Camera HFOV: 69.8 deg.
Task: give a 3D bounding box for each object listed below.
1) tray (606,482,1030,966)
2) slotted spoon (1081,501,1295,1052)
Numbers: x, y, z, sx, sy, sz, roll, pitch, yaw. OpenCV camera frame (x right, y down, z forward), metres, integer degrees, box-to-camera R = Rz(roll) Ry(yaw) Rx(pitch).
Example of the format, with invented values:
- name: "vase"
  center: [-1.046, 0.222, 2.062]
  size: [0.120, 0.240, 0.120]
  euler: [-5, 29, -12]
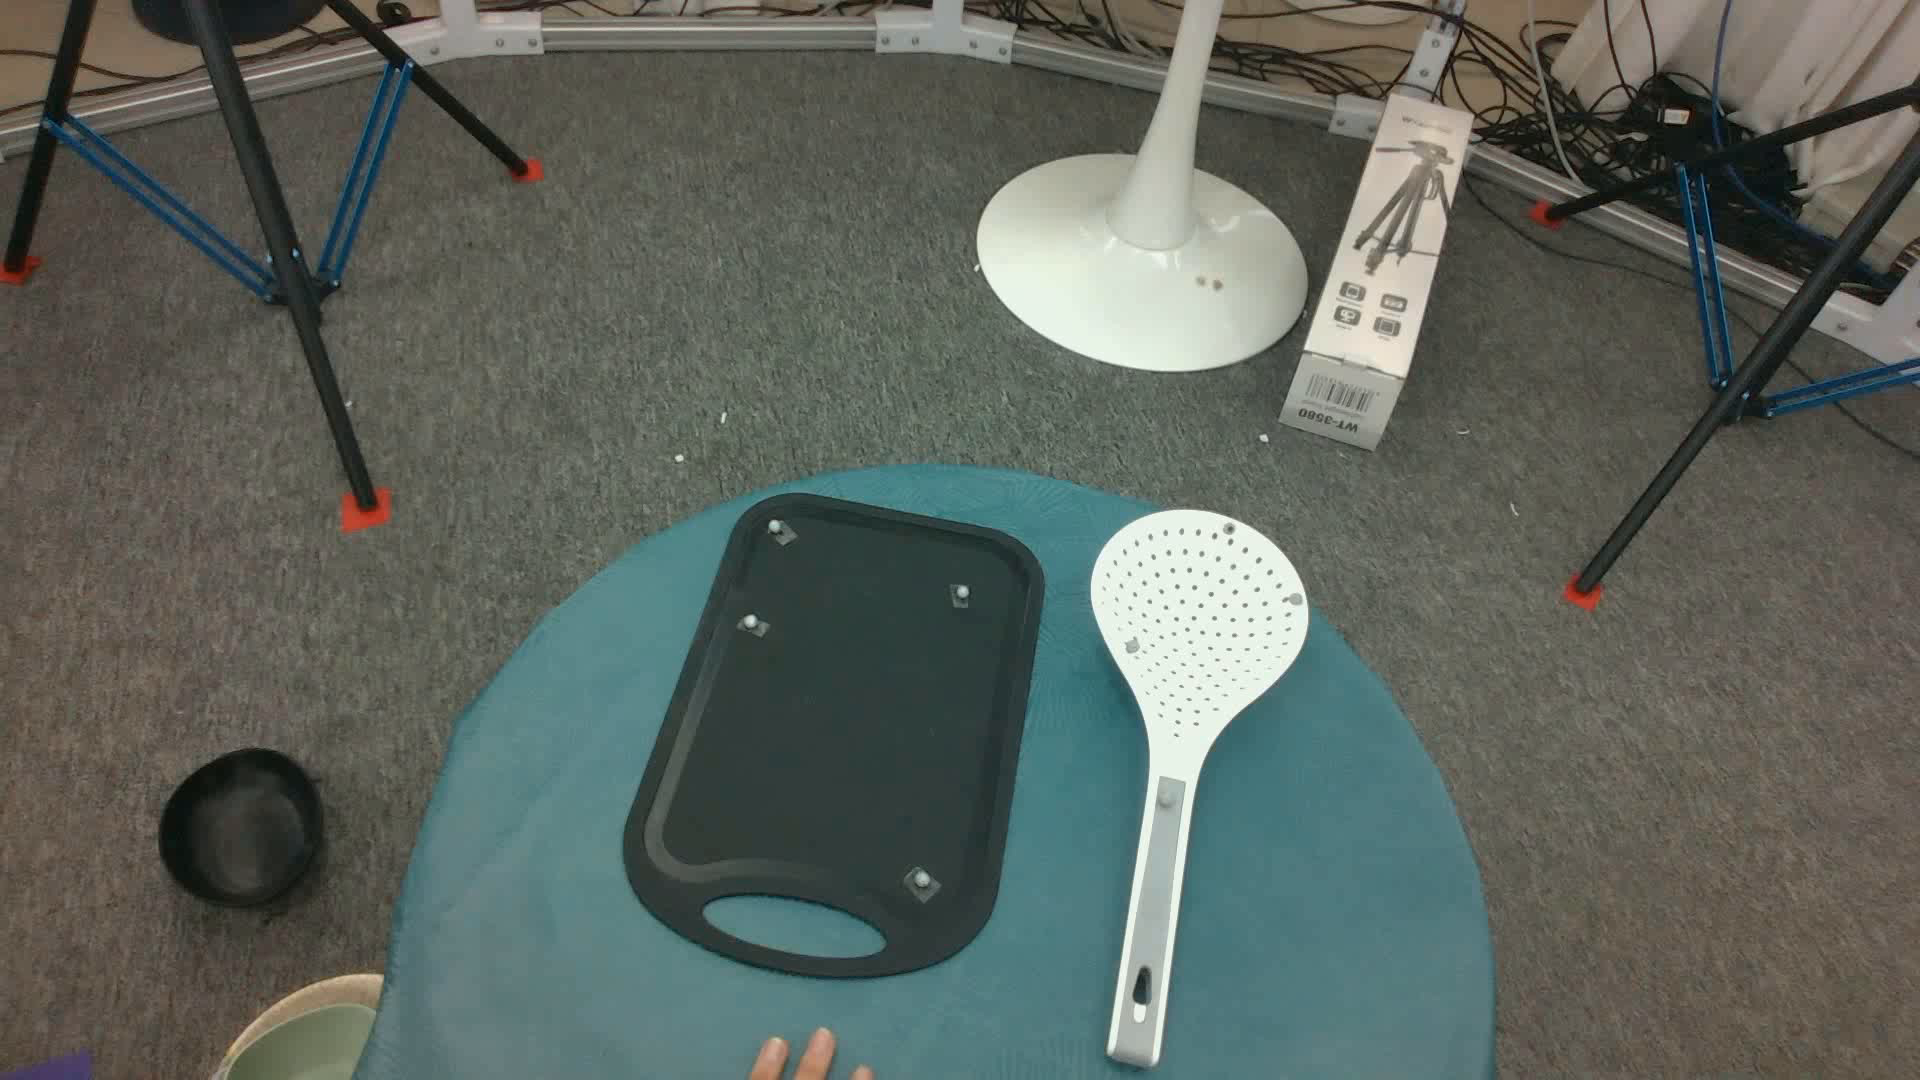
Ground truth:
- name: "tray"
  center: [-0.075, 0.095, 0.822]
  size: [0.211, 0.010, 0.327]
  euler: [11, 50, 1]
- name: "slotted spoon"
  center: [0.118, 0.121, 0.805]
  size: [0.136, 0.045, 0.351]
  euler: [12, 51, 5]
